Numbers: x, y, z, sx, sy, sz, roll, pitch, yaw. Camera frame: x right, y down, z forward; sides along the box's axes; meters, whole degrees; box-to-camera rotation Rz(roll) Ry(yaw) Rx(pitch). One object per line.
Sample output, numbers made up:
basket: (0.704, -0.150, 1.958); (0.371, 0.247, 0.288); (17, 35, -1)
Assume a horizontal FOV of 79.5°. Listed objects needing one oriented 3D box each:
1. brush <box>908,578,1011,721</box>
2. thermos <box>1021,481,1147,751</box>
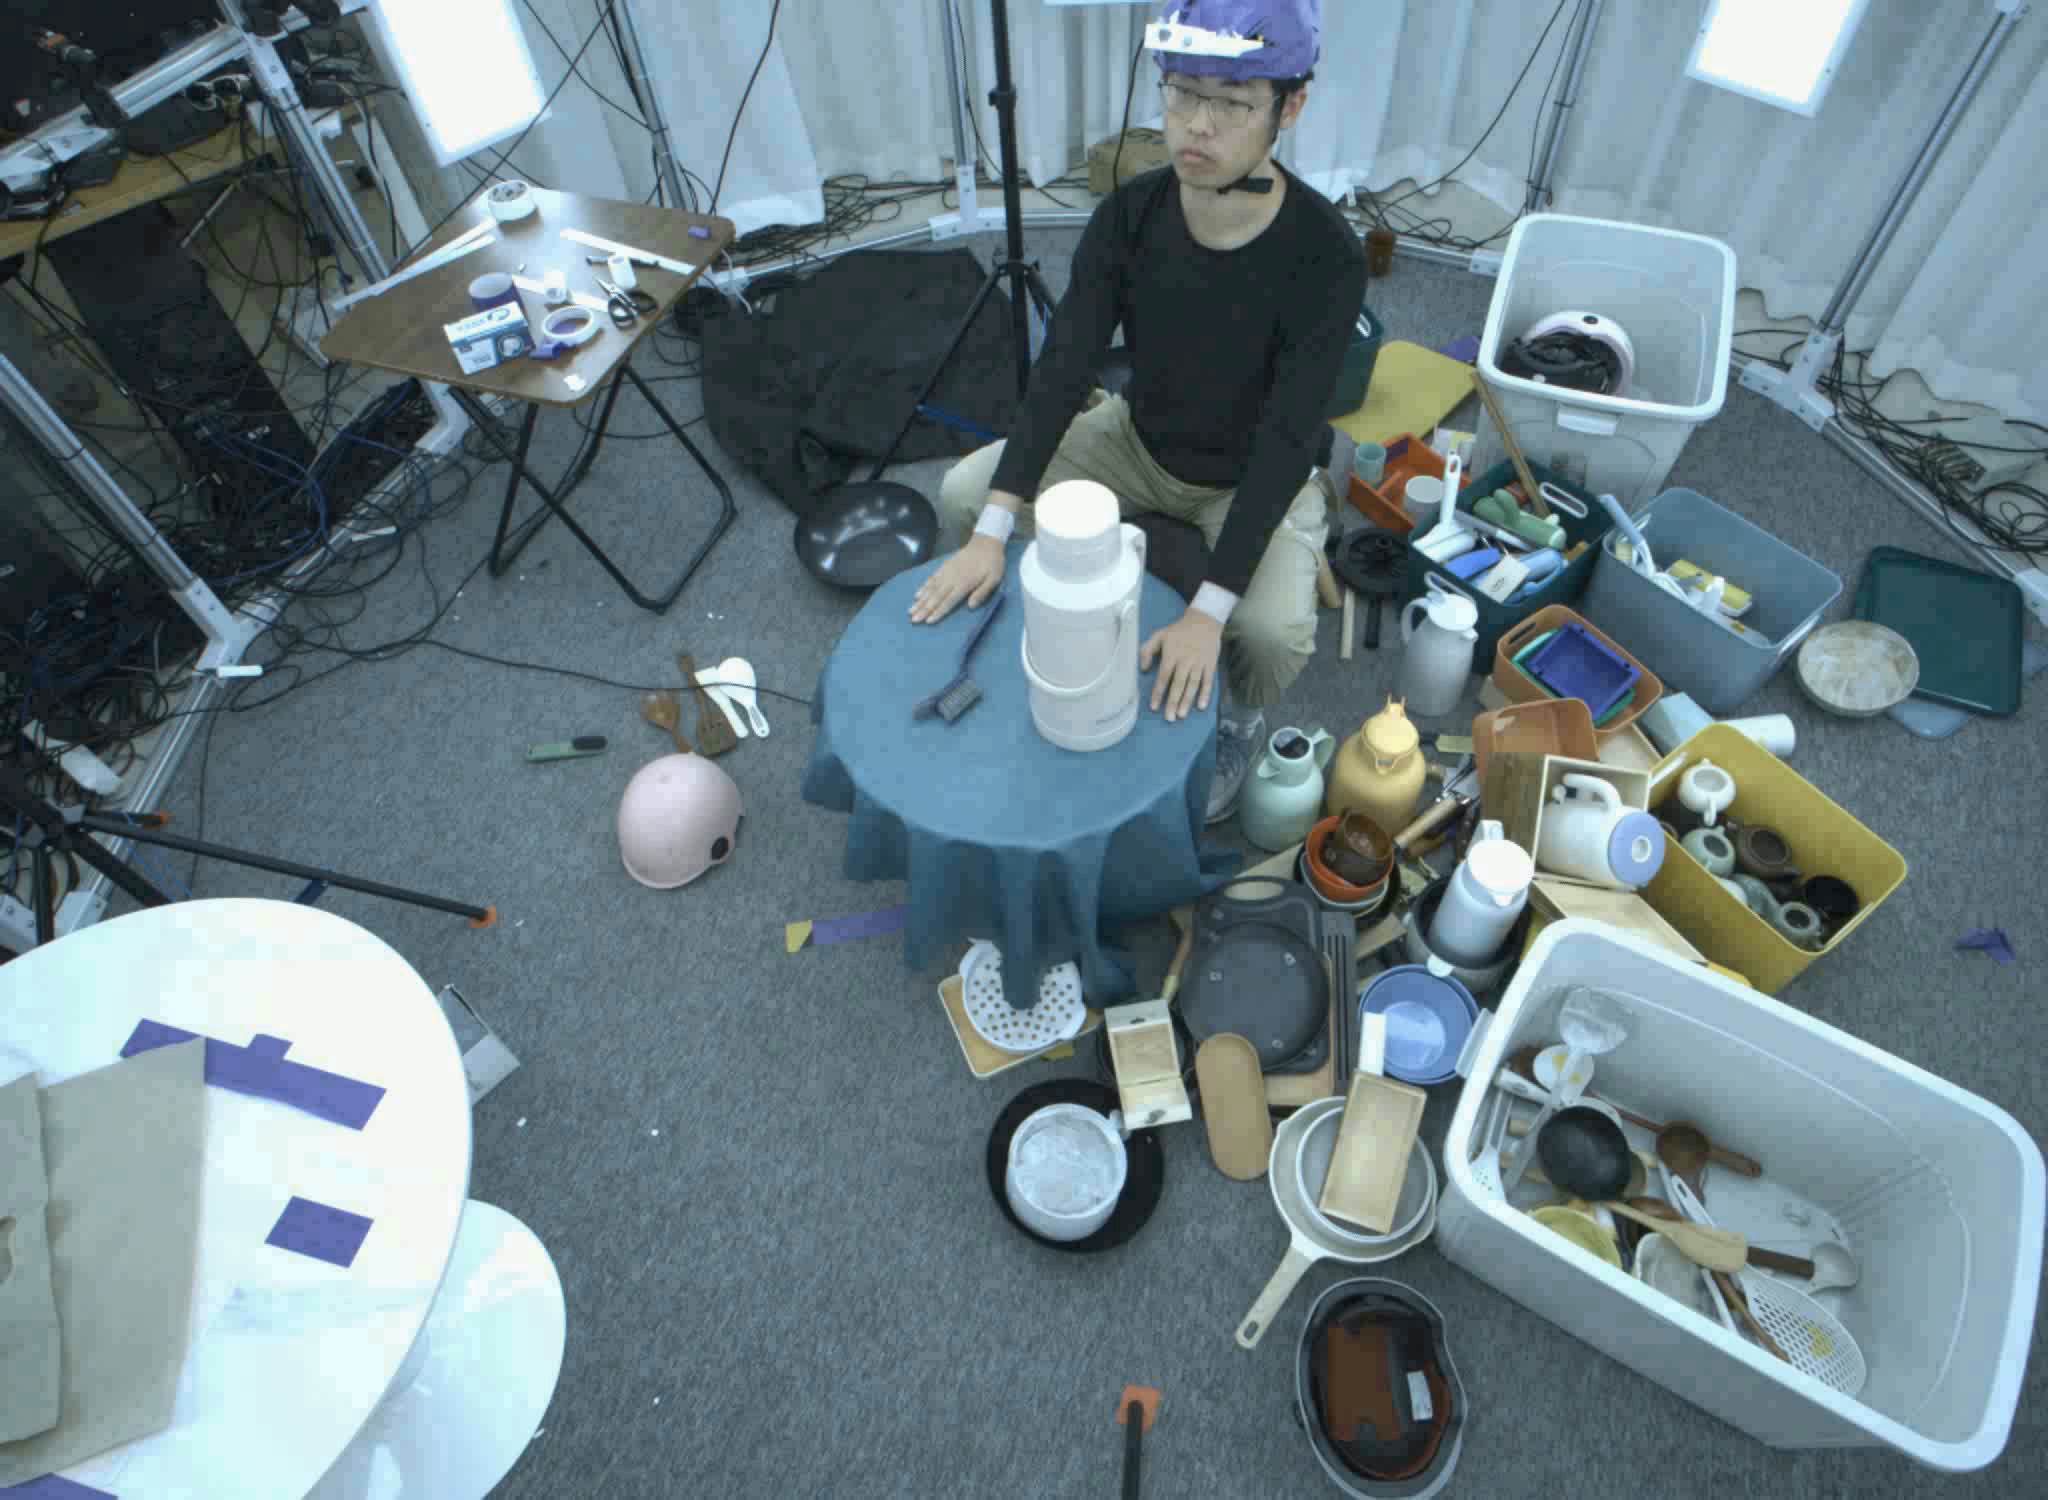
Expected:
brush: (-0.091, -0.159, 1.882); (0.095, 0.034, 0.272); (13, 59, 10)
thermos: (0.091, -0.185, 1.671); (0.172, 0.411, 0.208); (35, 64, 27)
